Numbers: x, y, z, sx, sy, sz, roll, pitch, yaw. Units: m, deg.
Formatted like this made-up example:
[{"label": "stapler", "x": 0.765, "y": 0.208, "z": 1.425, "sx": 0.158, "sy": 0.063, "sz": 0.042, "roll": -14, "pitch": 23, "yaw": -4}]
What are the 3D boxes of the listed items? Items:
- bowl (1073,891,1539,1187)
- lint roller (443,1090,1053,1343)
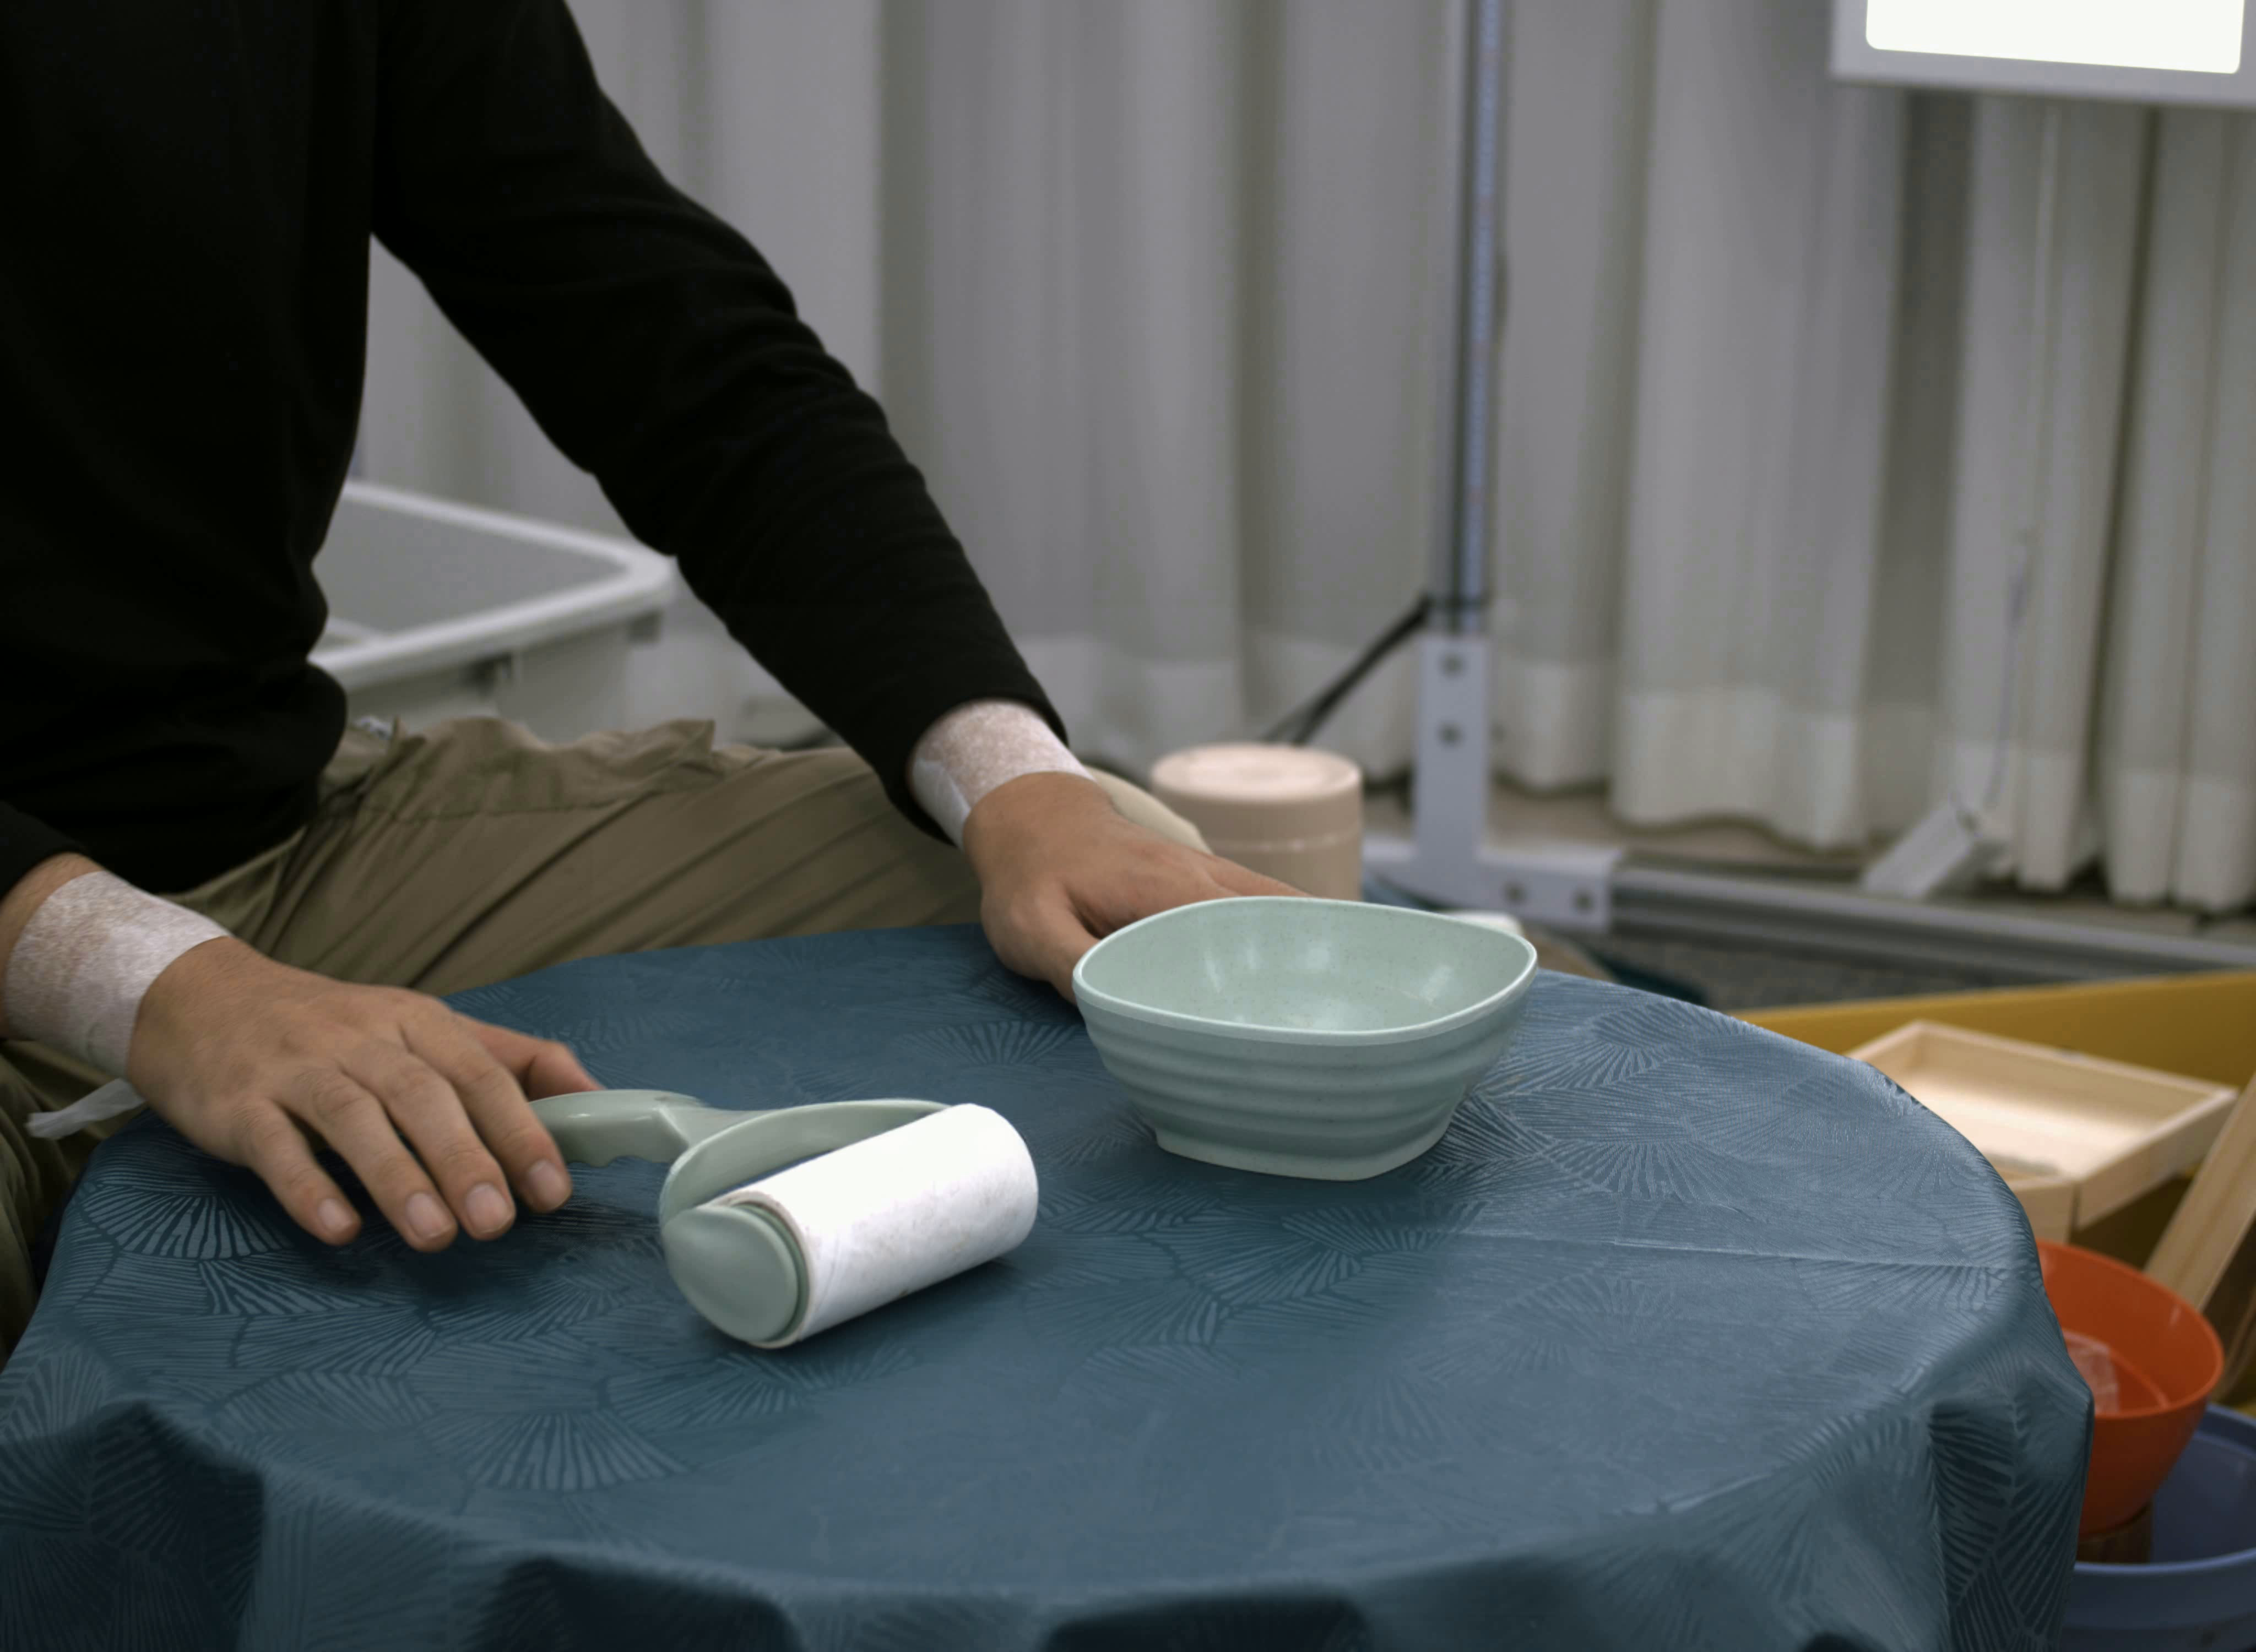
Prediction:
[{"label": "bowl", "x": 0.056, "y": 0.070, "z": 1.668, "sx": 0.151, "sy": 0.059, "sz": 0.150, "roll": 1, "pitch": 17, "yaw": 0}, {"label": "lint roller", "x": -0.128, "y": 0.103, "z": 1.569, "sx": 0.195, "sy": 0.049, "sz": 0.117, "roll": 11, "pitch": 20, "yaw": 36}]
